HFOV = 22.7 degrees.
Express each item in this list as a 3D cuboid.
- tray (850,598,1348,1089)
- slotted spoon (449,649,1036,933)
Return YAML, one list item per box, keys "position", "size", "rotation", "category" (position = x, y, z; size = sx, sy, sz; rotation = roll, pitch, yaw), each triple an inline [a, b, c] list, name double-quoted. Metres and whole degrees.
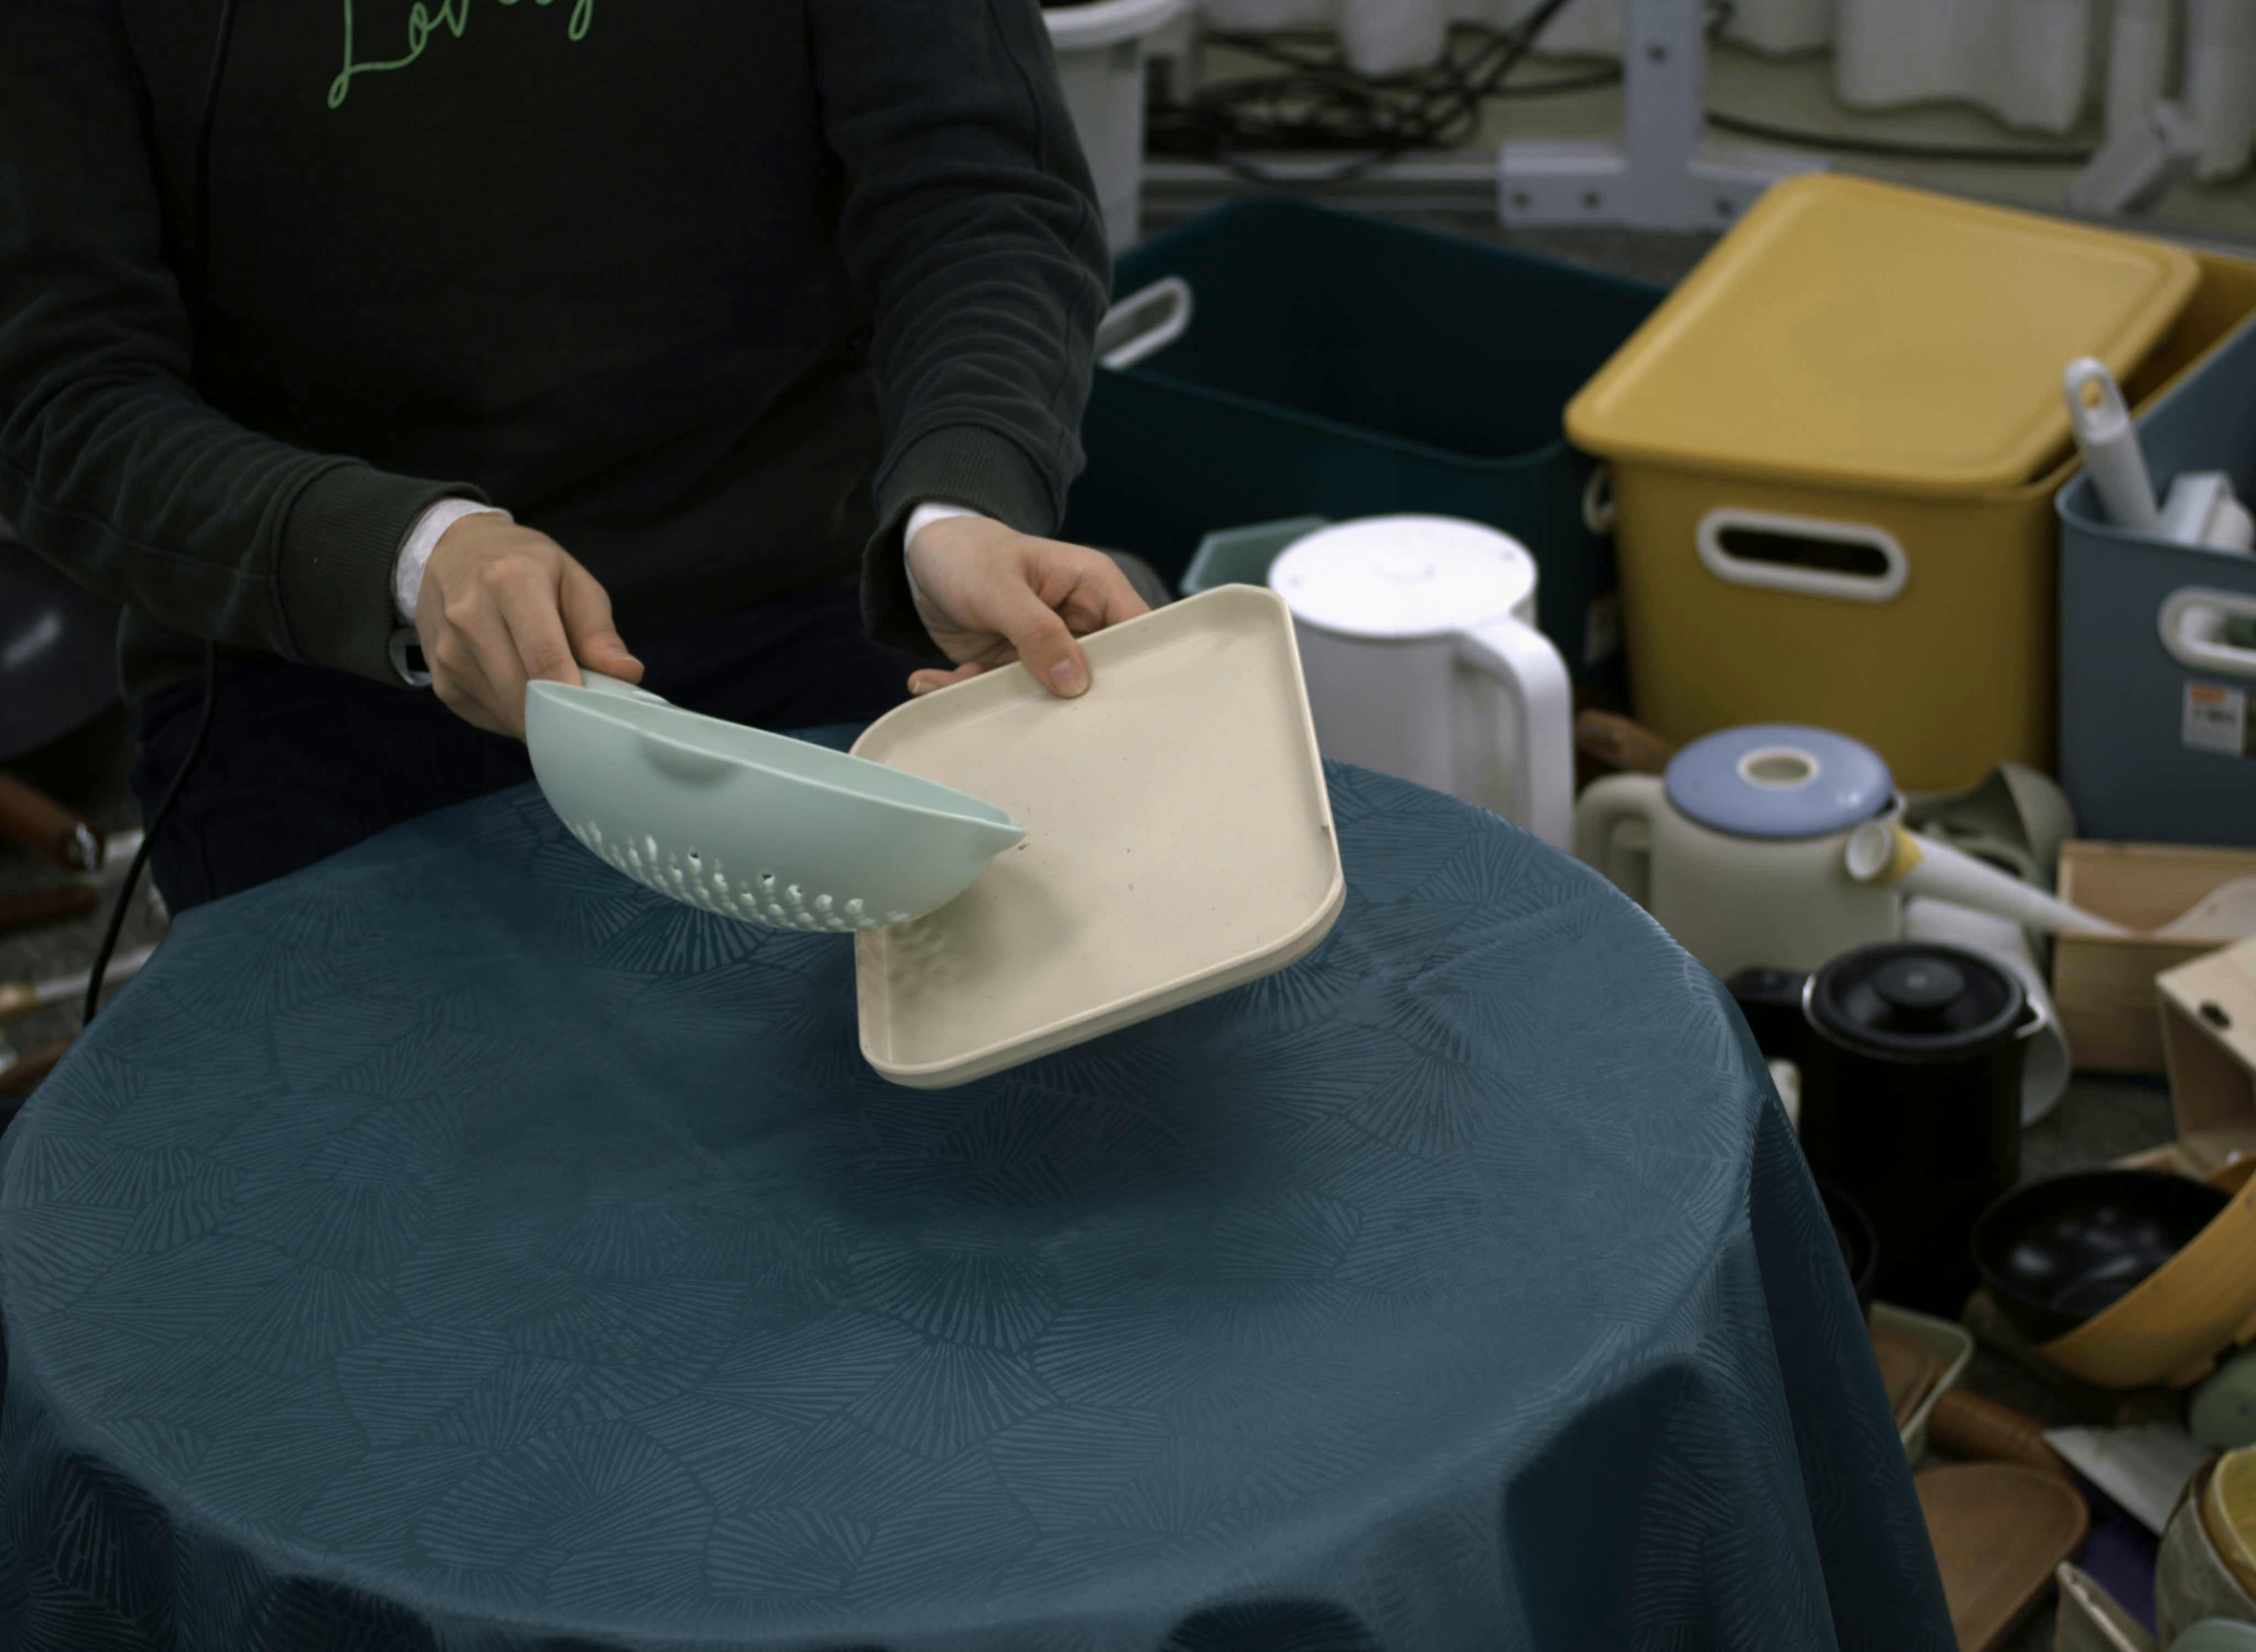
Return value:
- position: [-0.013, 0.005, 1.907]
  size: [0.170, 0.017, 0.243]
  rotation: [-19, 29, 6]
  category: "tray"
- position: [-0.165, -0.028, 1.954]
  size: [0.169, 0.075, 0.360]
  rotation: [16, 9, -29]
  category: "slotted spoon"
